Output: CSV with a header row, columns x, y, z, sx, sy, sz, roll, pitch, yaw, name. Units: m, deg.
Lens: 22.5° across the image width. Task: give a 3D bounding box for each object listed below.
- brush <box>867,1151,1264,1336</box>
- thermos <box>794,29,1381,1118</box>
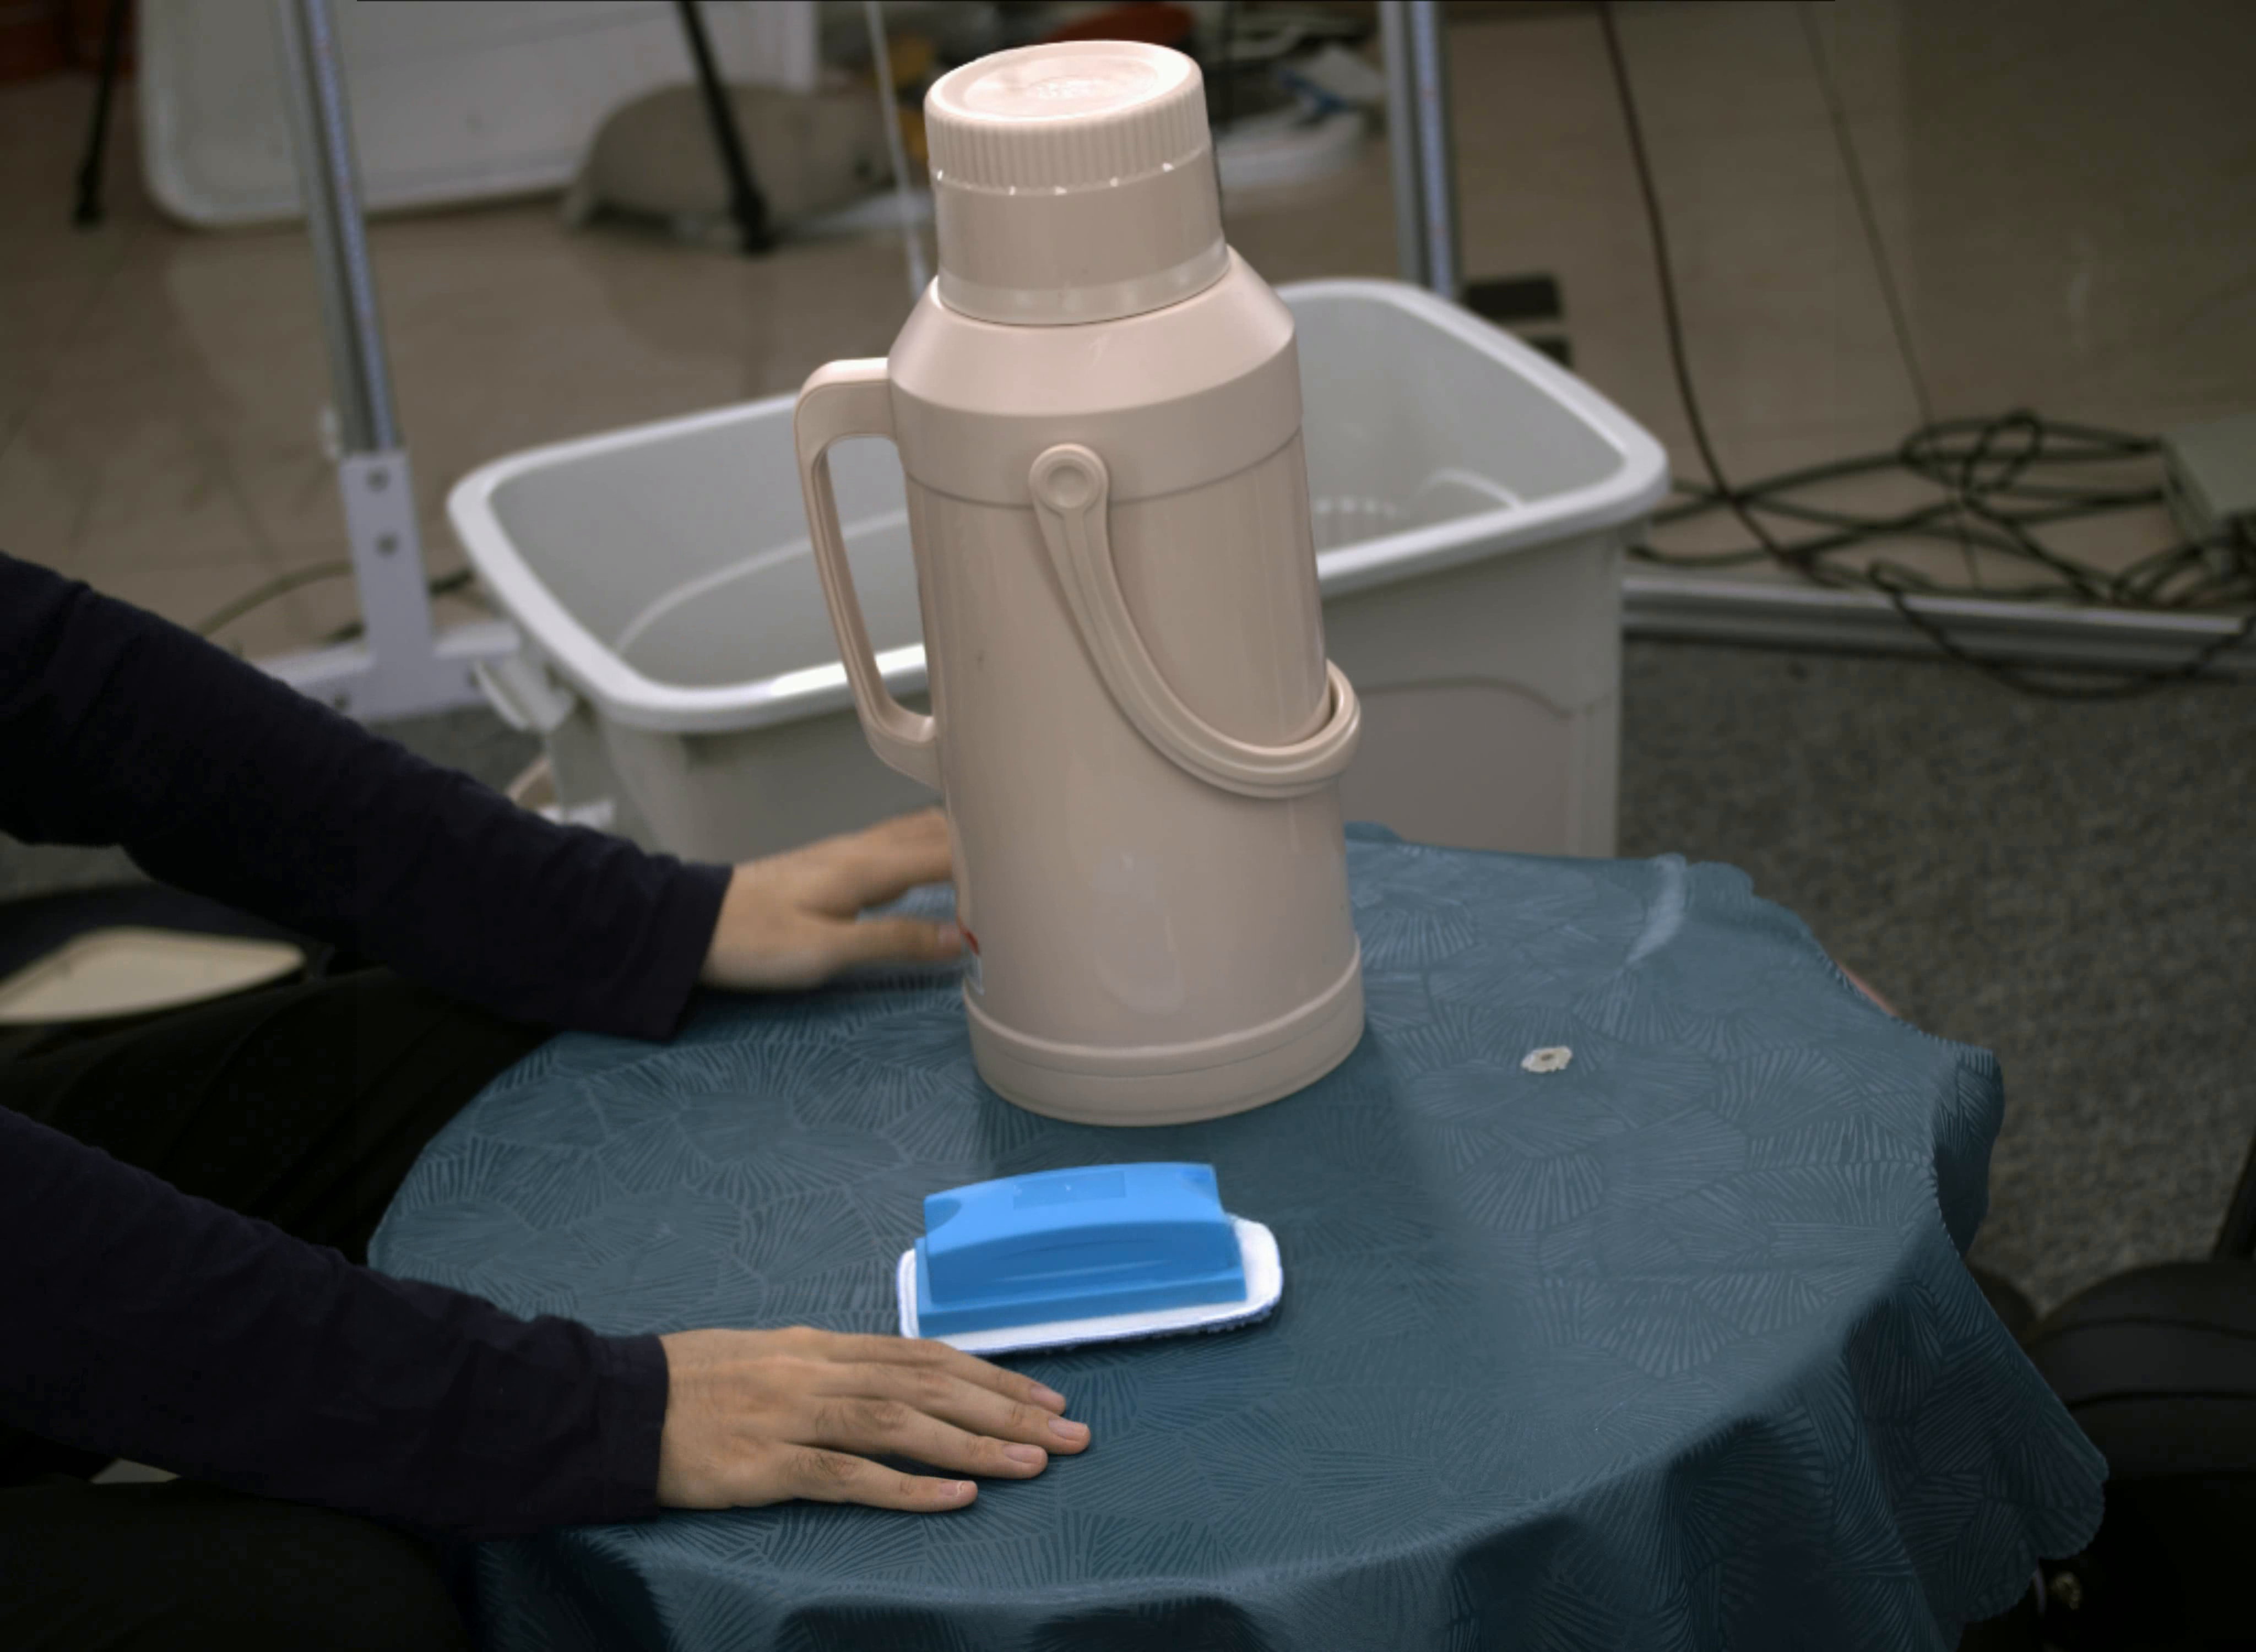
x,y,z,sx,sy,sz,roll,pitch,yaw,name
-0.023,0.148,2.059,0.144,0.057,0.083,-3,22,1,brush
-0.015,-0.097,2.181,0.207,0.413,0.172,-4,28,8,thermos
